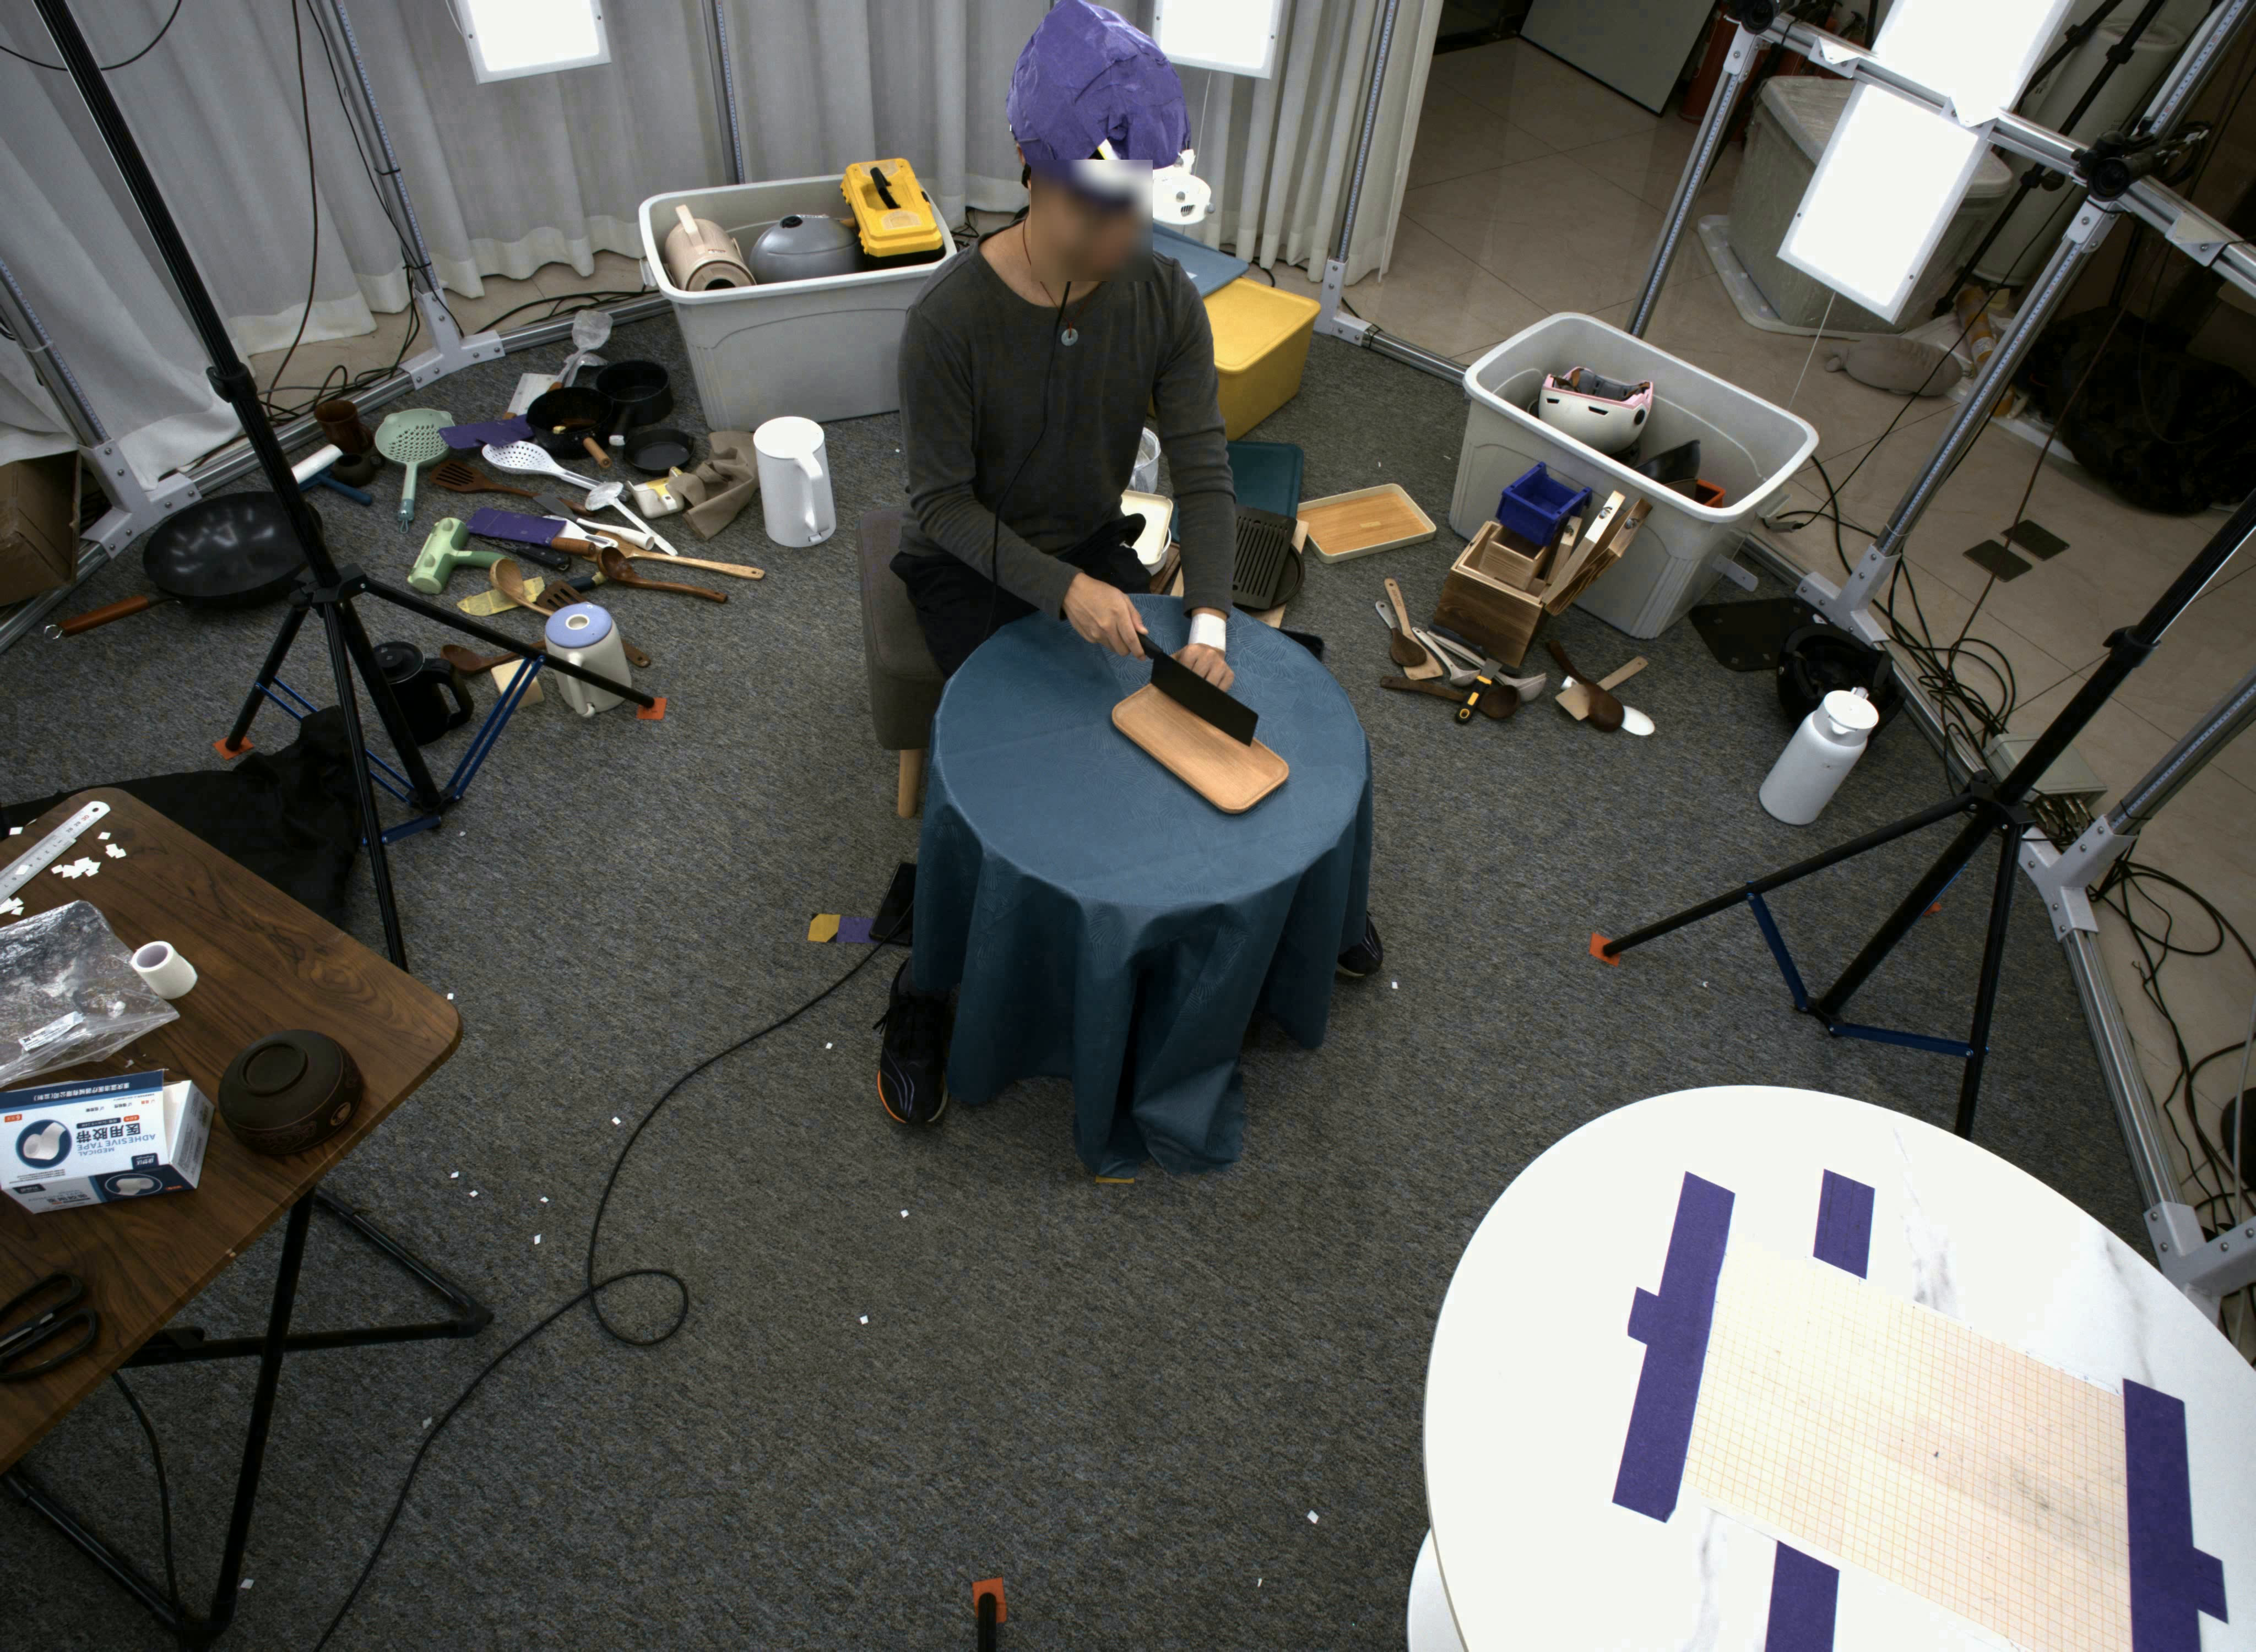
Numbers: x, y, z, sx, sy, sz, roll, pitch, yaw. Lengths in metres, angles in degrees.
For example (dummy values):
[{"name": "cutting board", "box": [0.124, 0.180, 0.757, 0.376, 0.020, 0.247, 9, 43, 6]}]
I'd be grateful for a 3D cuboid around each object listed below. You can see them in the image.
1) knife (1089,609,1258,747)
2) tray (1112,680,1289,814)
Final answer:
[{"name": "knife", "box": [0.060, -0.211, 1.779, 0.306, 0.079, 0.021, 40, 52, 21]}, {"name": "tray", "box": [0.097, -0.113, 1.762, 0.131, 0.022, 0.255, -32, 57, -30]}]
